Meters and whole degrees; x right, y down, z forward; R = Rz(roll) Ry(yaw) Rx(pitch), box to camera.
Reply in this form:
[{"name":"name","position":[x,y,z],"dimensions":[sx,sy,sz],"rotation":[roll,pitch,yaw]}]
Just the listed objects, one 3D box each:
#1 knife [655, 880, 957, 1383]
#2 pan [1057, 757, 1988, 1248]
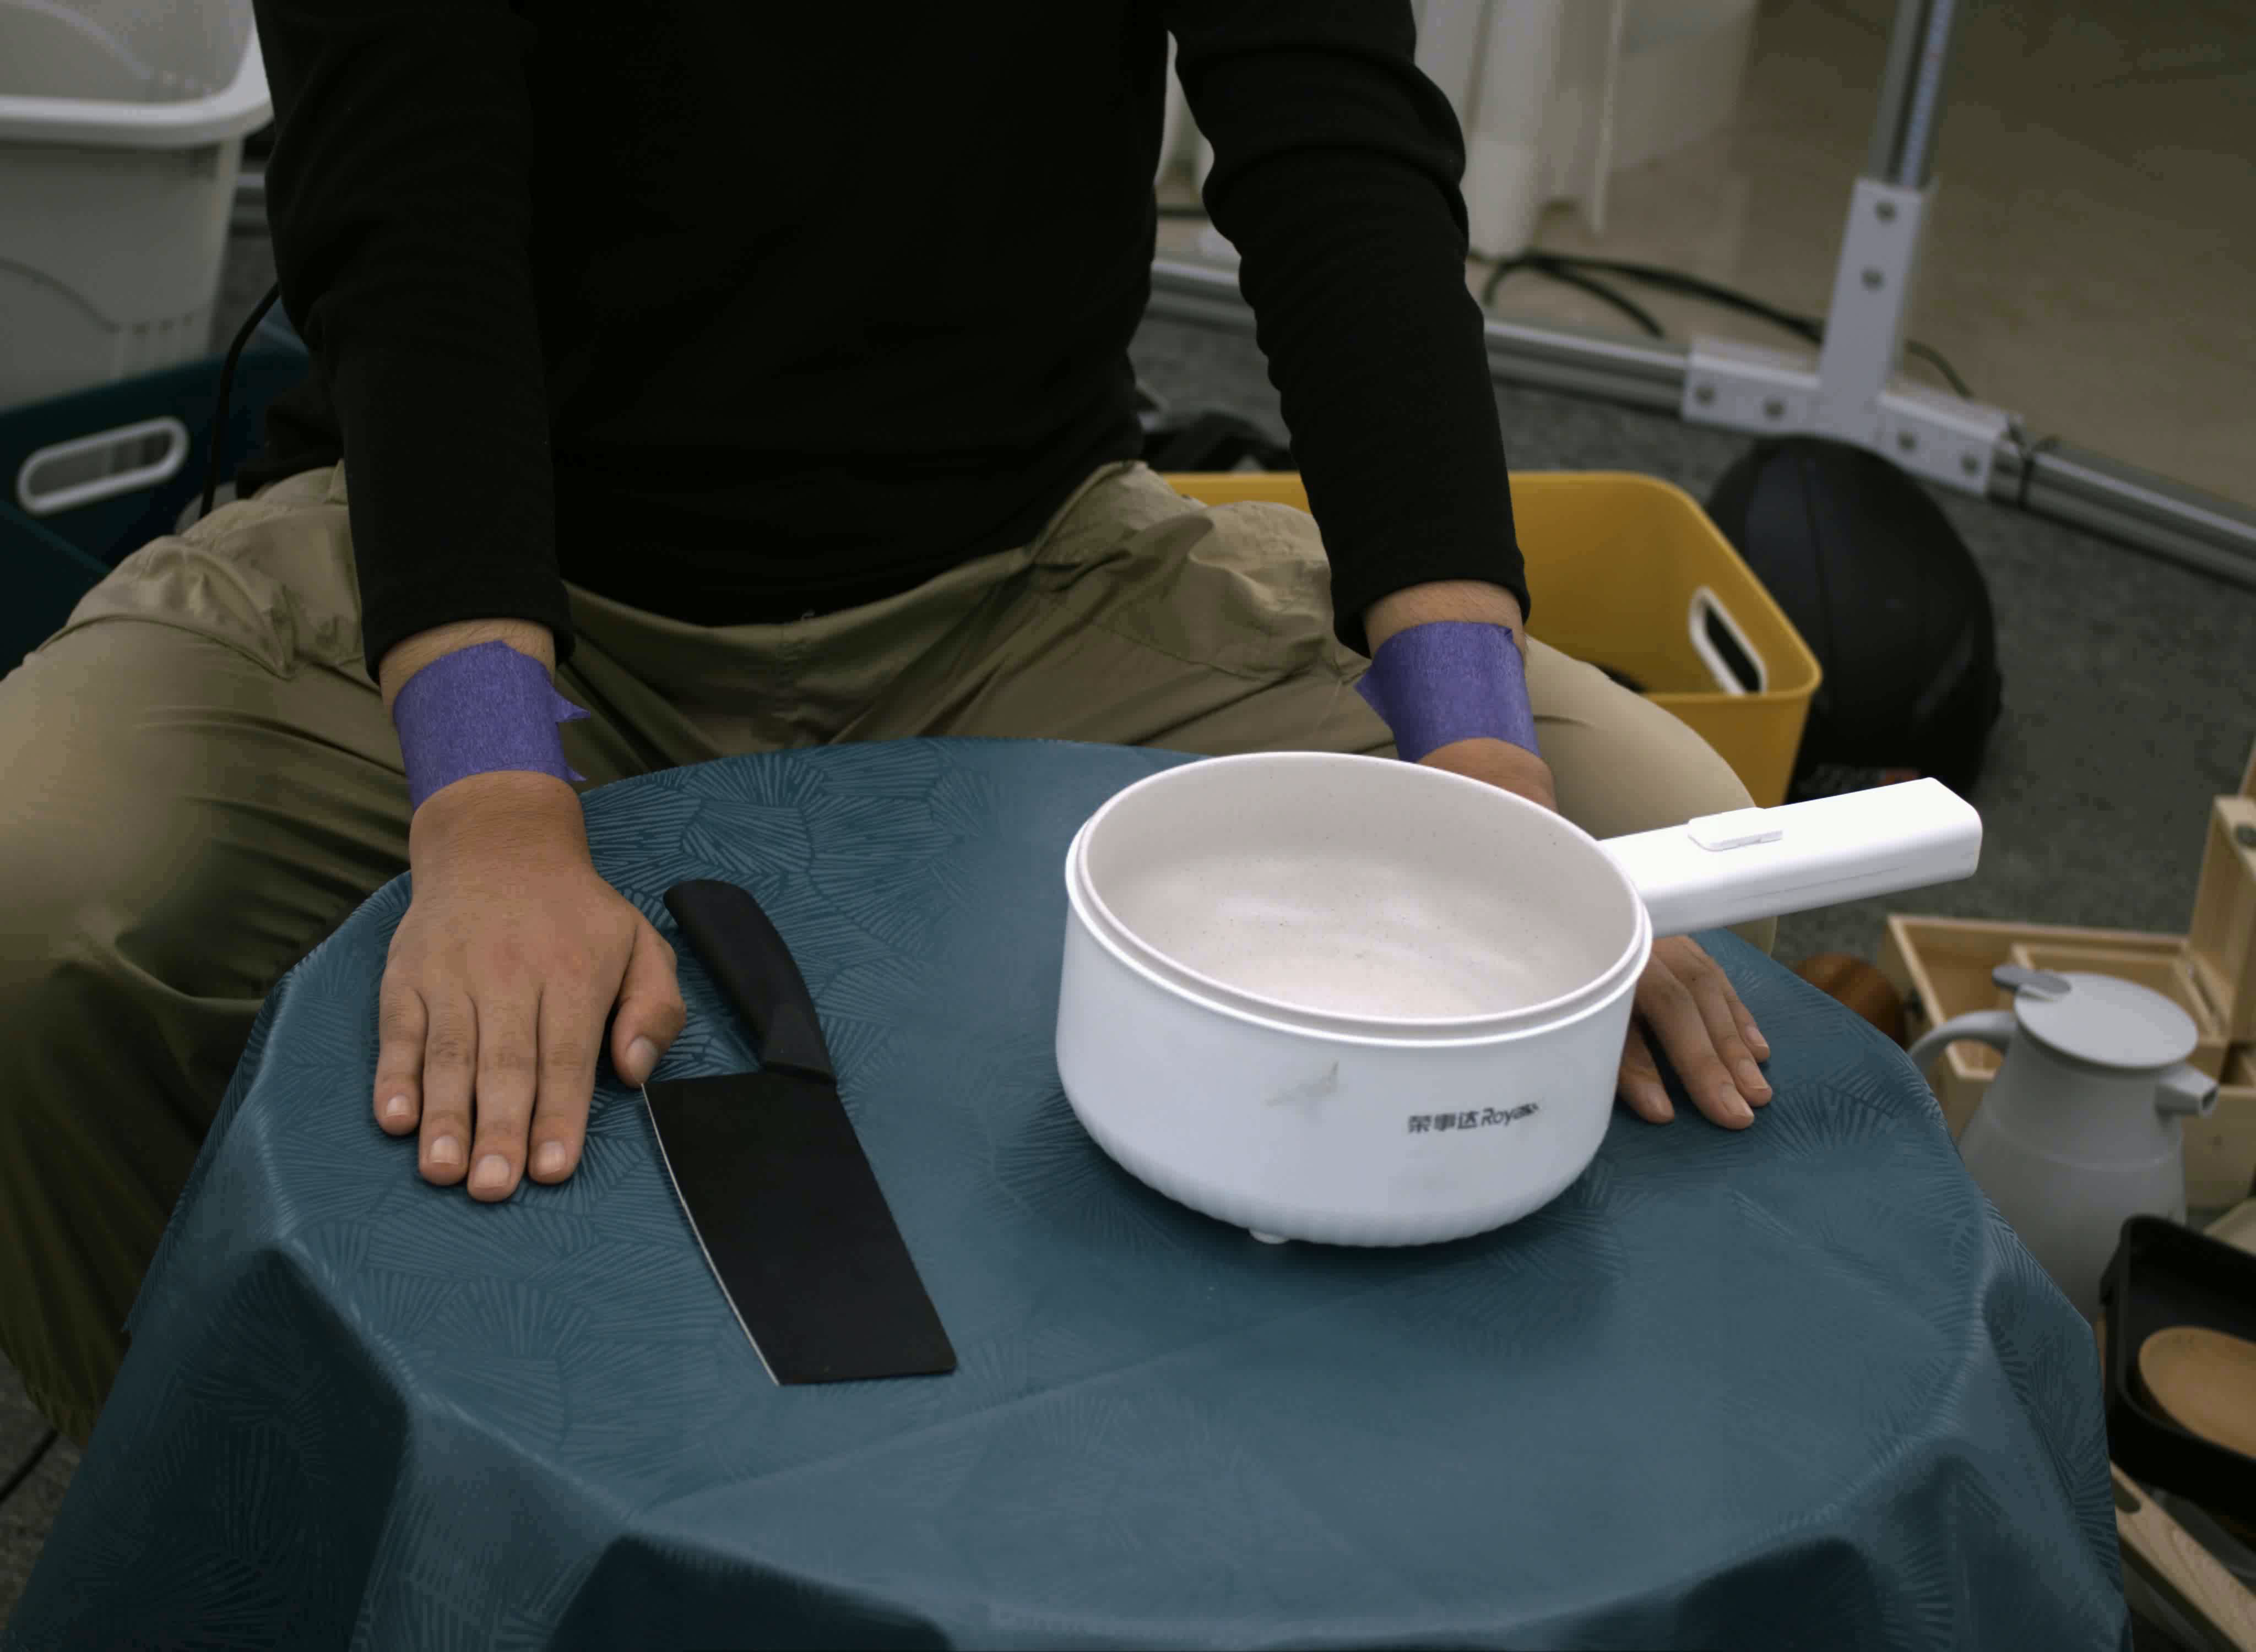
[{"name":"knife","position":[-0.121,0.101,1.809],"dimensions":[0.080,0.021,0.305],"rotation":[-1,30,-12]},{"name":"pan","position":[0.141,0.056,1.866],"dimensions":[0.352,0.102,0.203],"rotation":[-7,29,-28]}]
